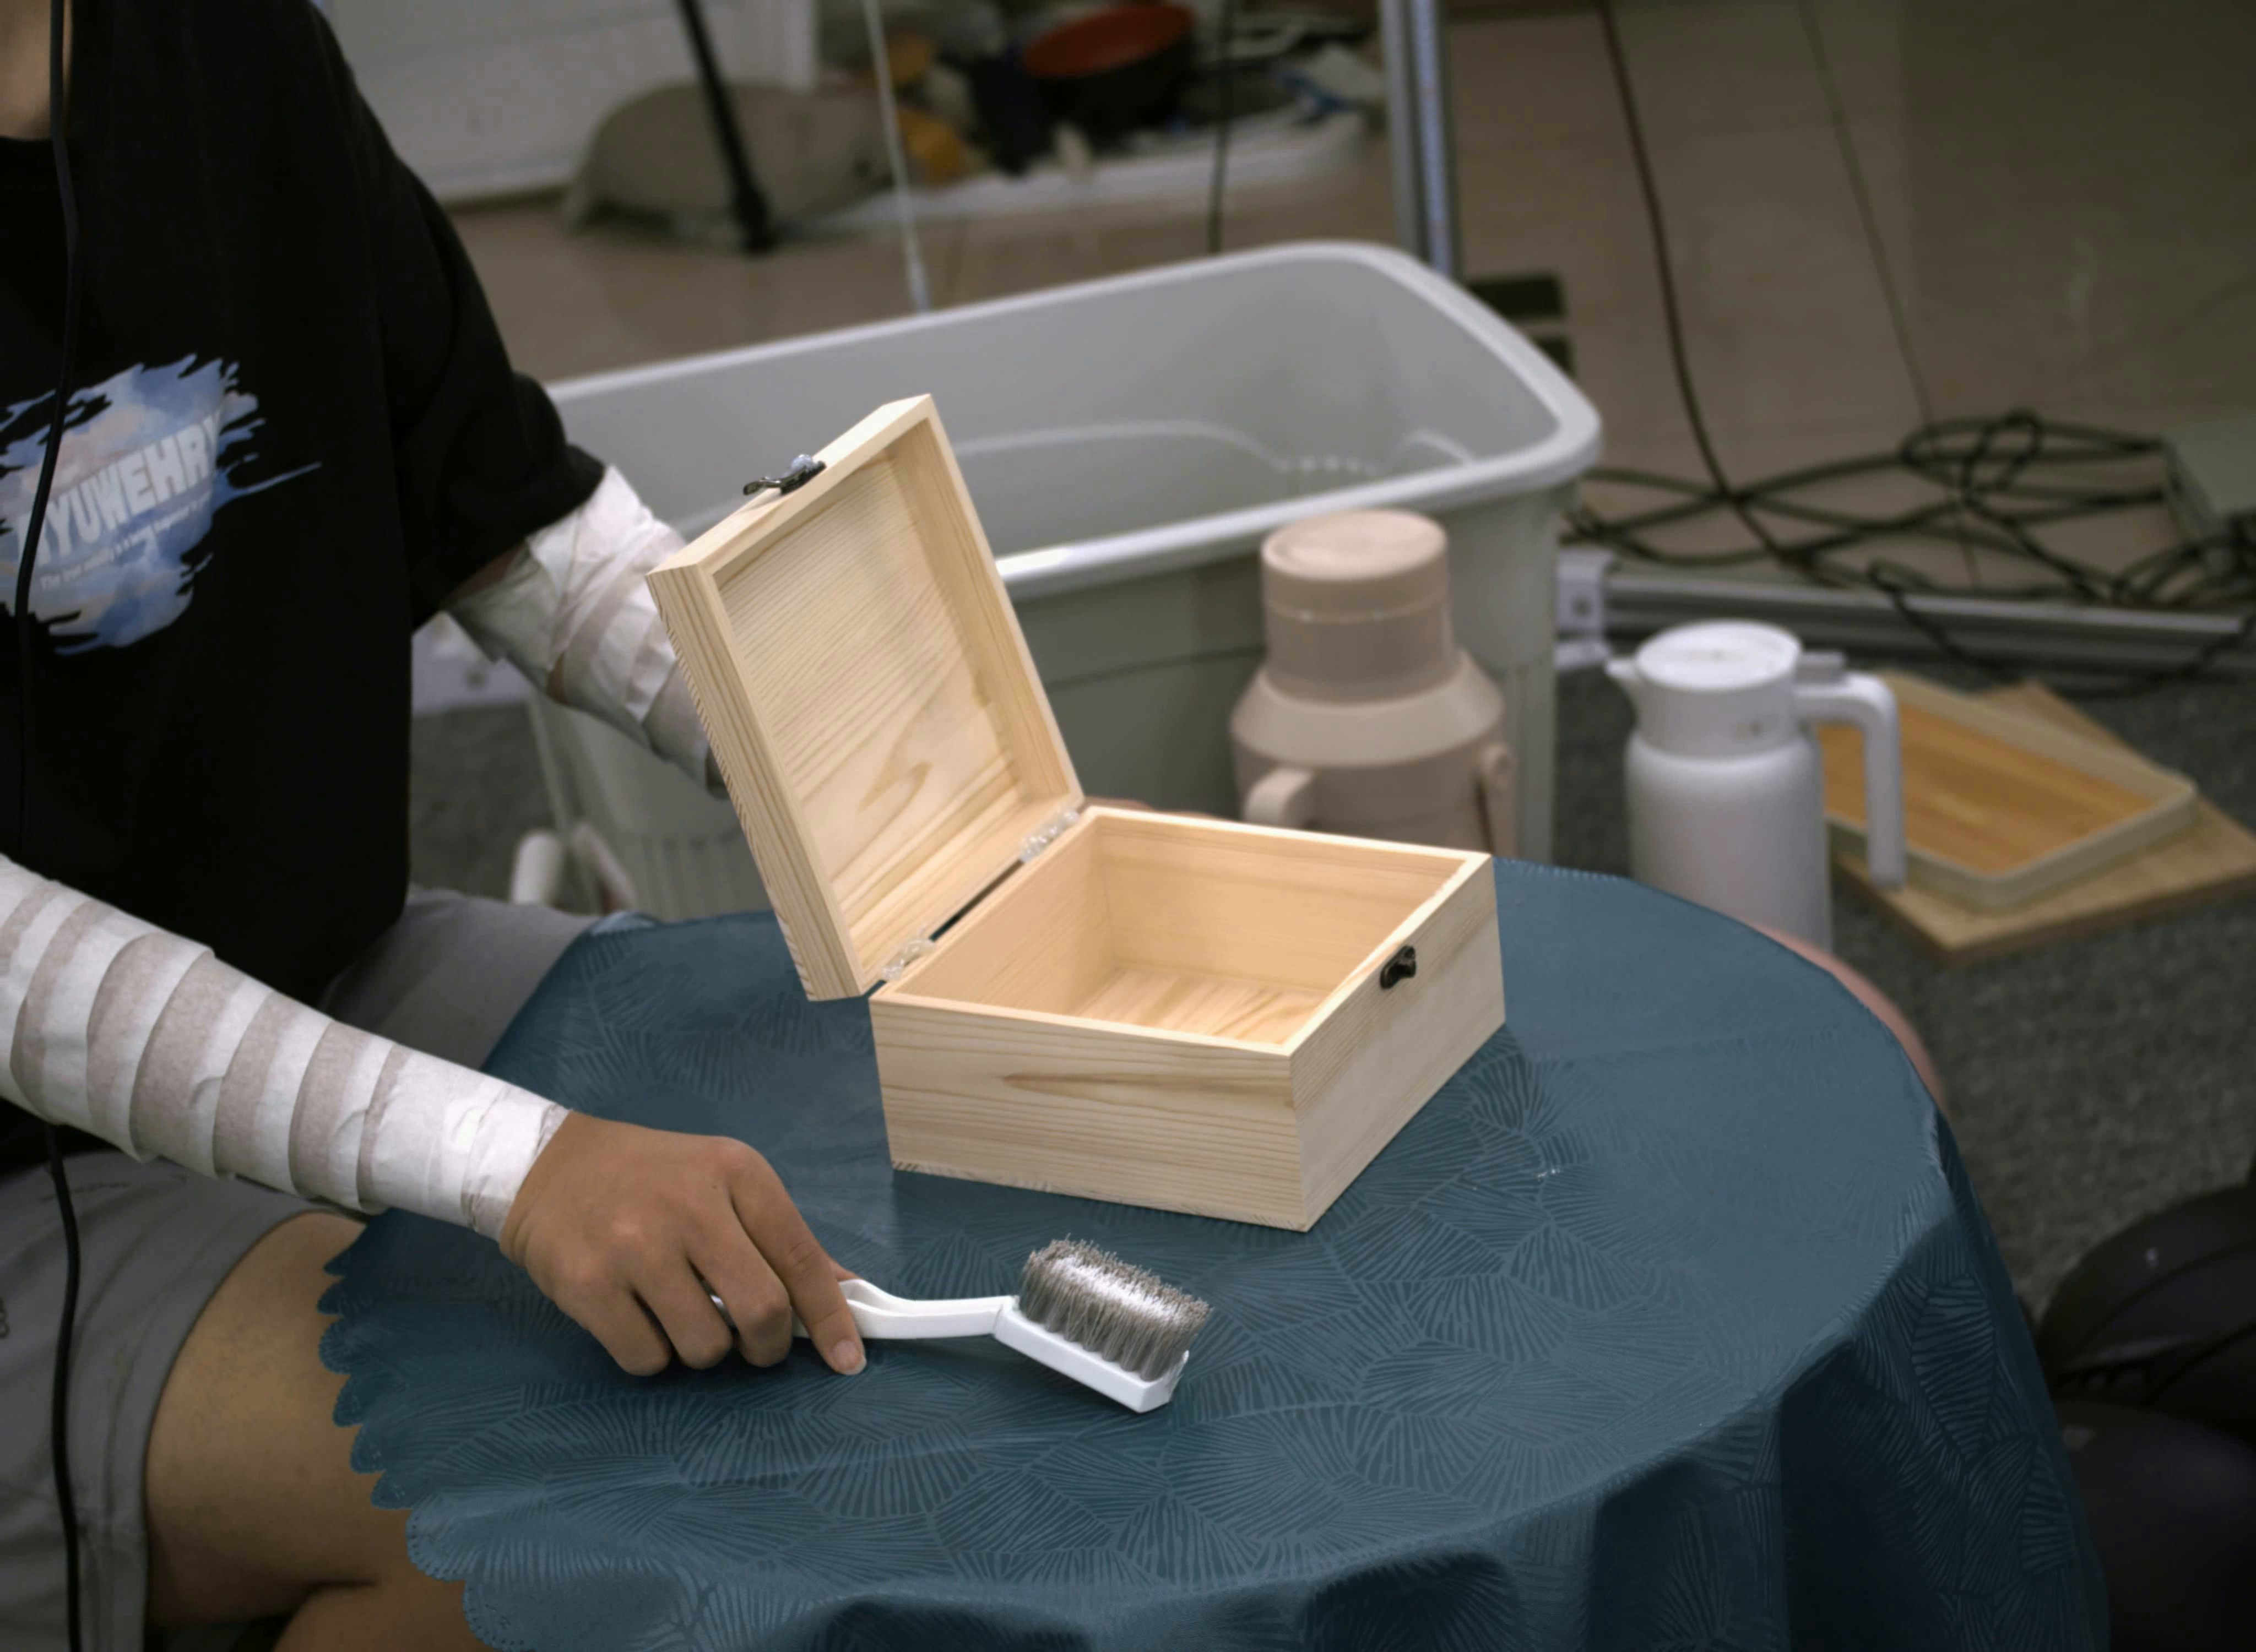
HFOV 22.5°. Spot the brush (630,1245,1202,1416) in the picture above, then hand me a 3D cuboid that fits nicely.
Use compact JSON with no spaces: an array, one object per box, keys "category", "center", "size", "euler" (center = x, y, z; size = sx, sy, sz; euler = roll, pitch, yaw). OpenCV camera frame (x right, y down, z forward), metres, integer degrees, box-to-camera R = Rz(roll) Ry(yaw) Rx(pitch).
[{"category":"brush","center":[-0.082,0.166,2.051],"size":[0.242,0.051,0.034],"euler":[10,28,31]}]

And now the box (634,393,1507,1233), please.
[{"category":"box","center":[-0.014,-0.010,2.175],"size":[0.264,0.257,0.179],"euler":[7,30,27]}]
